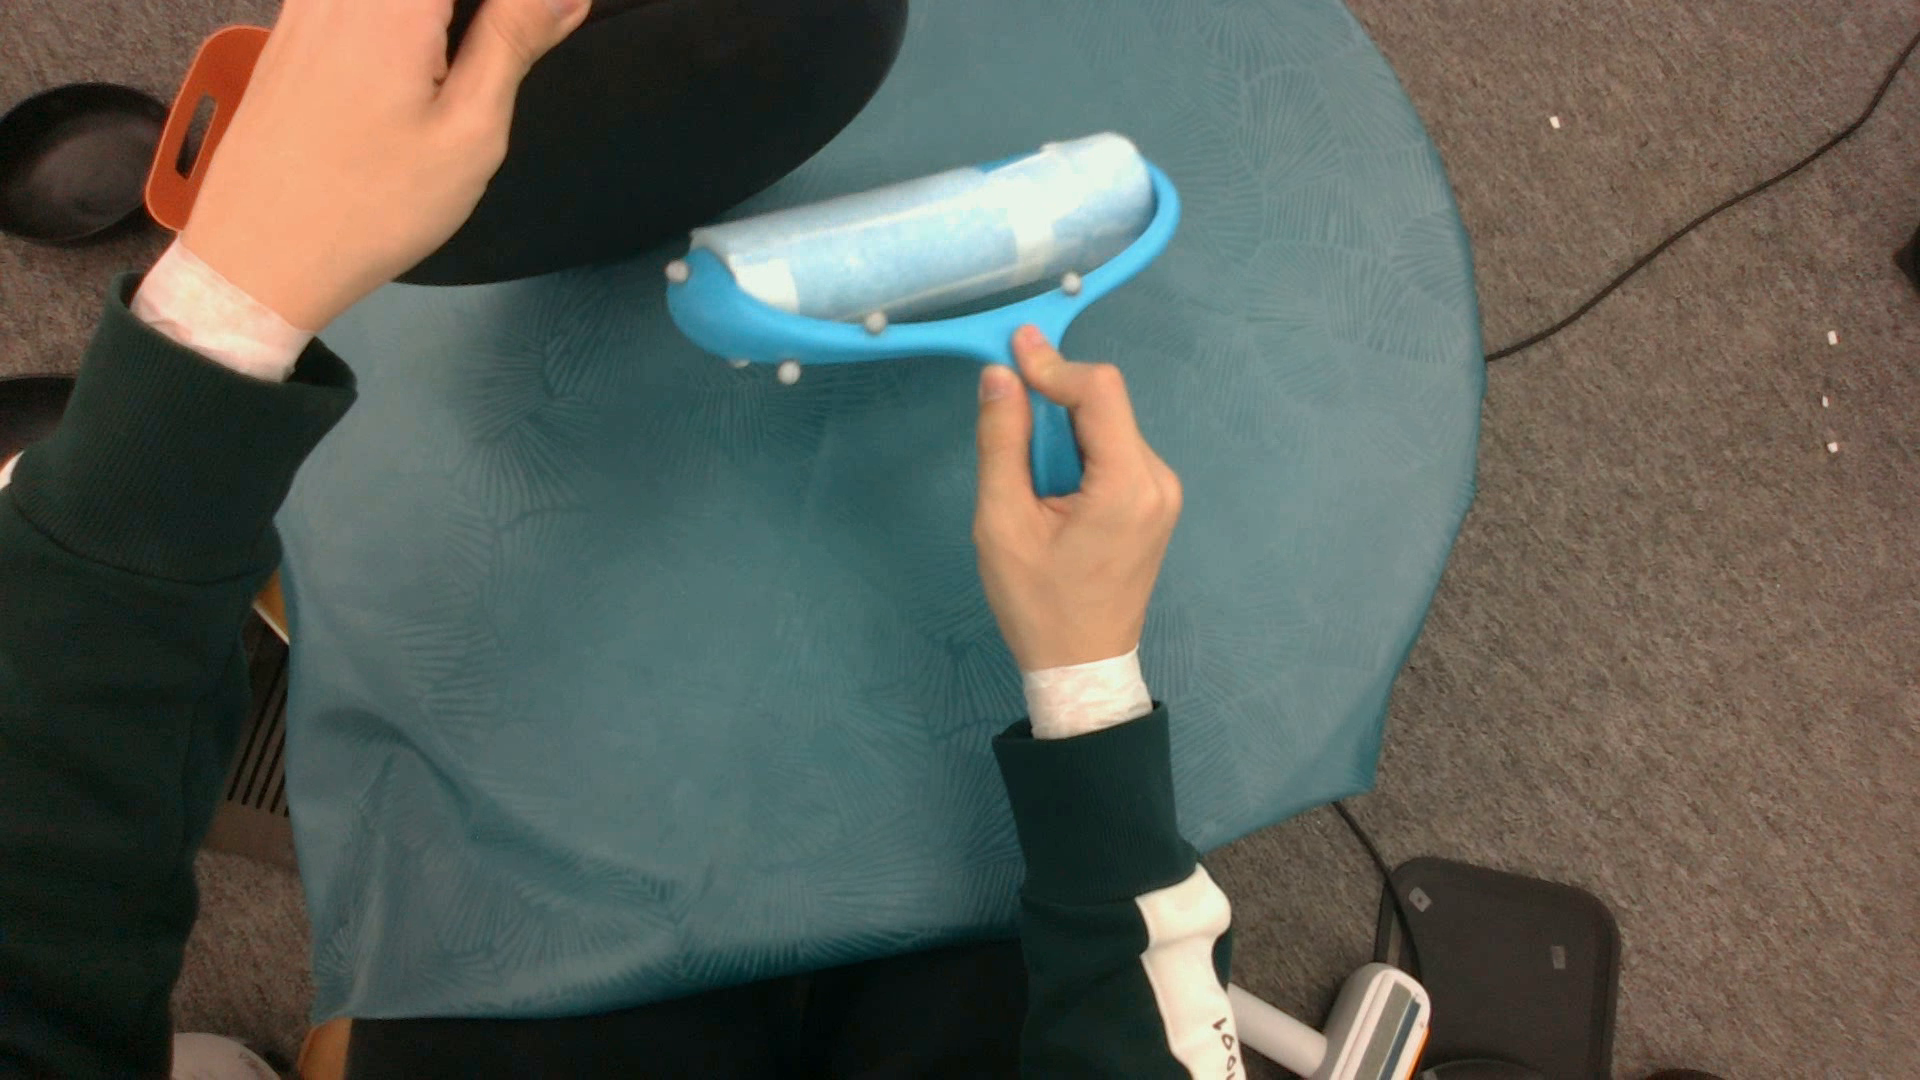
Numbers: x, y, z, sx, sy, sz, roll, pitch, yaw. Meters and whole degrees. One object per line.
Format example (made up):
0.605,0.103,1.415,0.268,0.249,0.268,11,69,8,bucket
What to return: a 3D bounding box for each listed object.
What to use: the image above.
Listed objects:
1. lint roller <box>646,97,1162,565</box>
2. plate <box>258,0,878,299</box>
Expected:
0.009,-0.080,0.554,0.230,0.067,0.180,-26,85,-27,lint roller
-0.144,-0.162,0.543,0.255,0.254,0.029,-28,89,-11,plate
